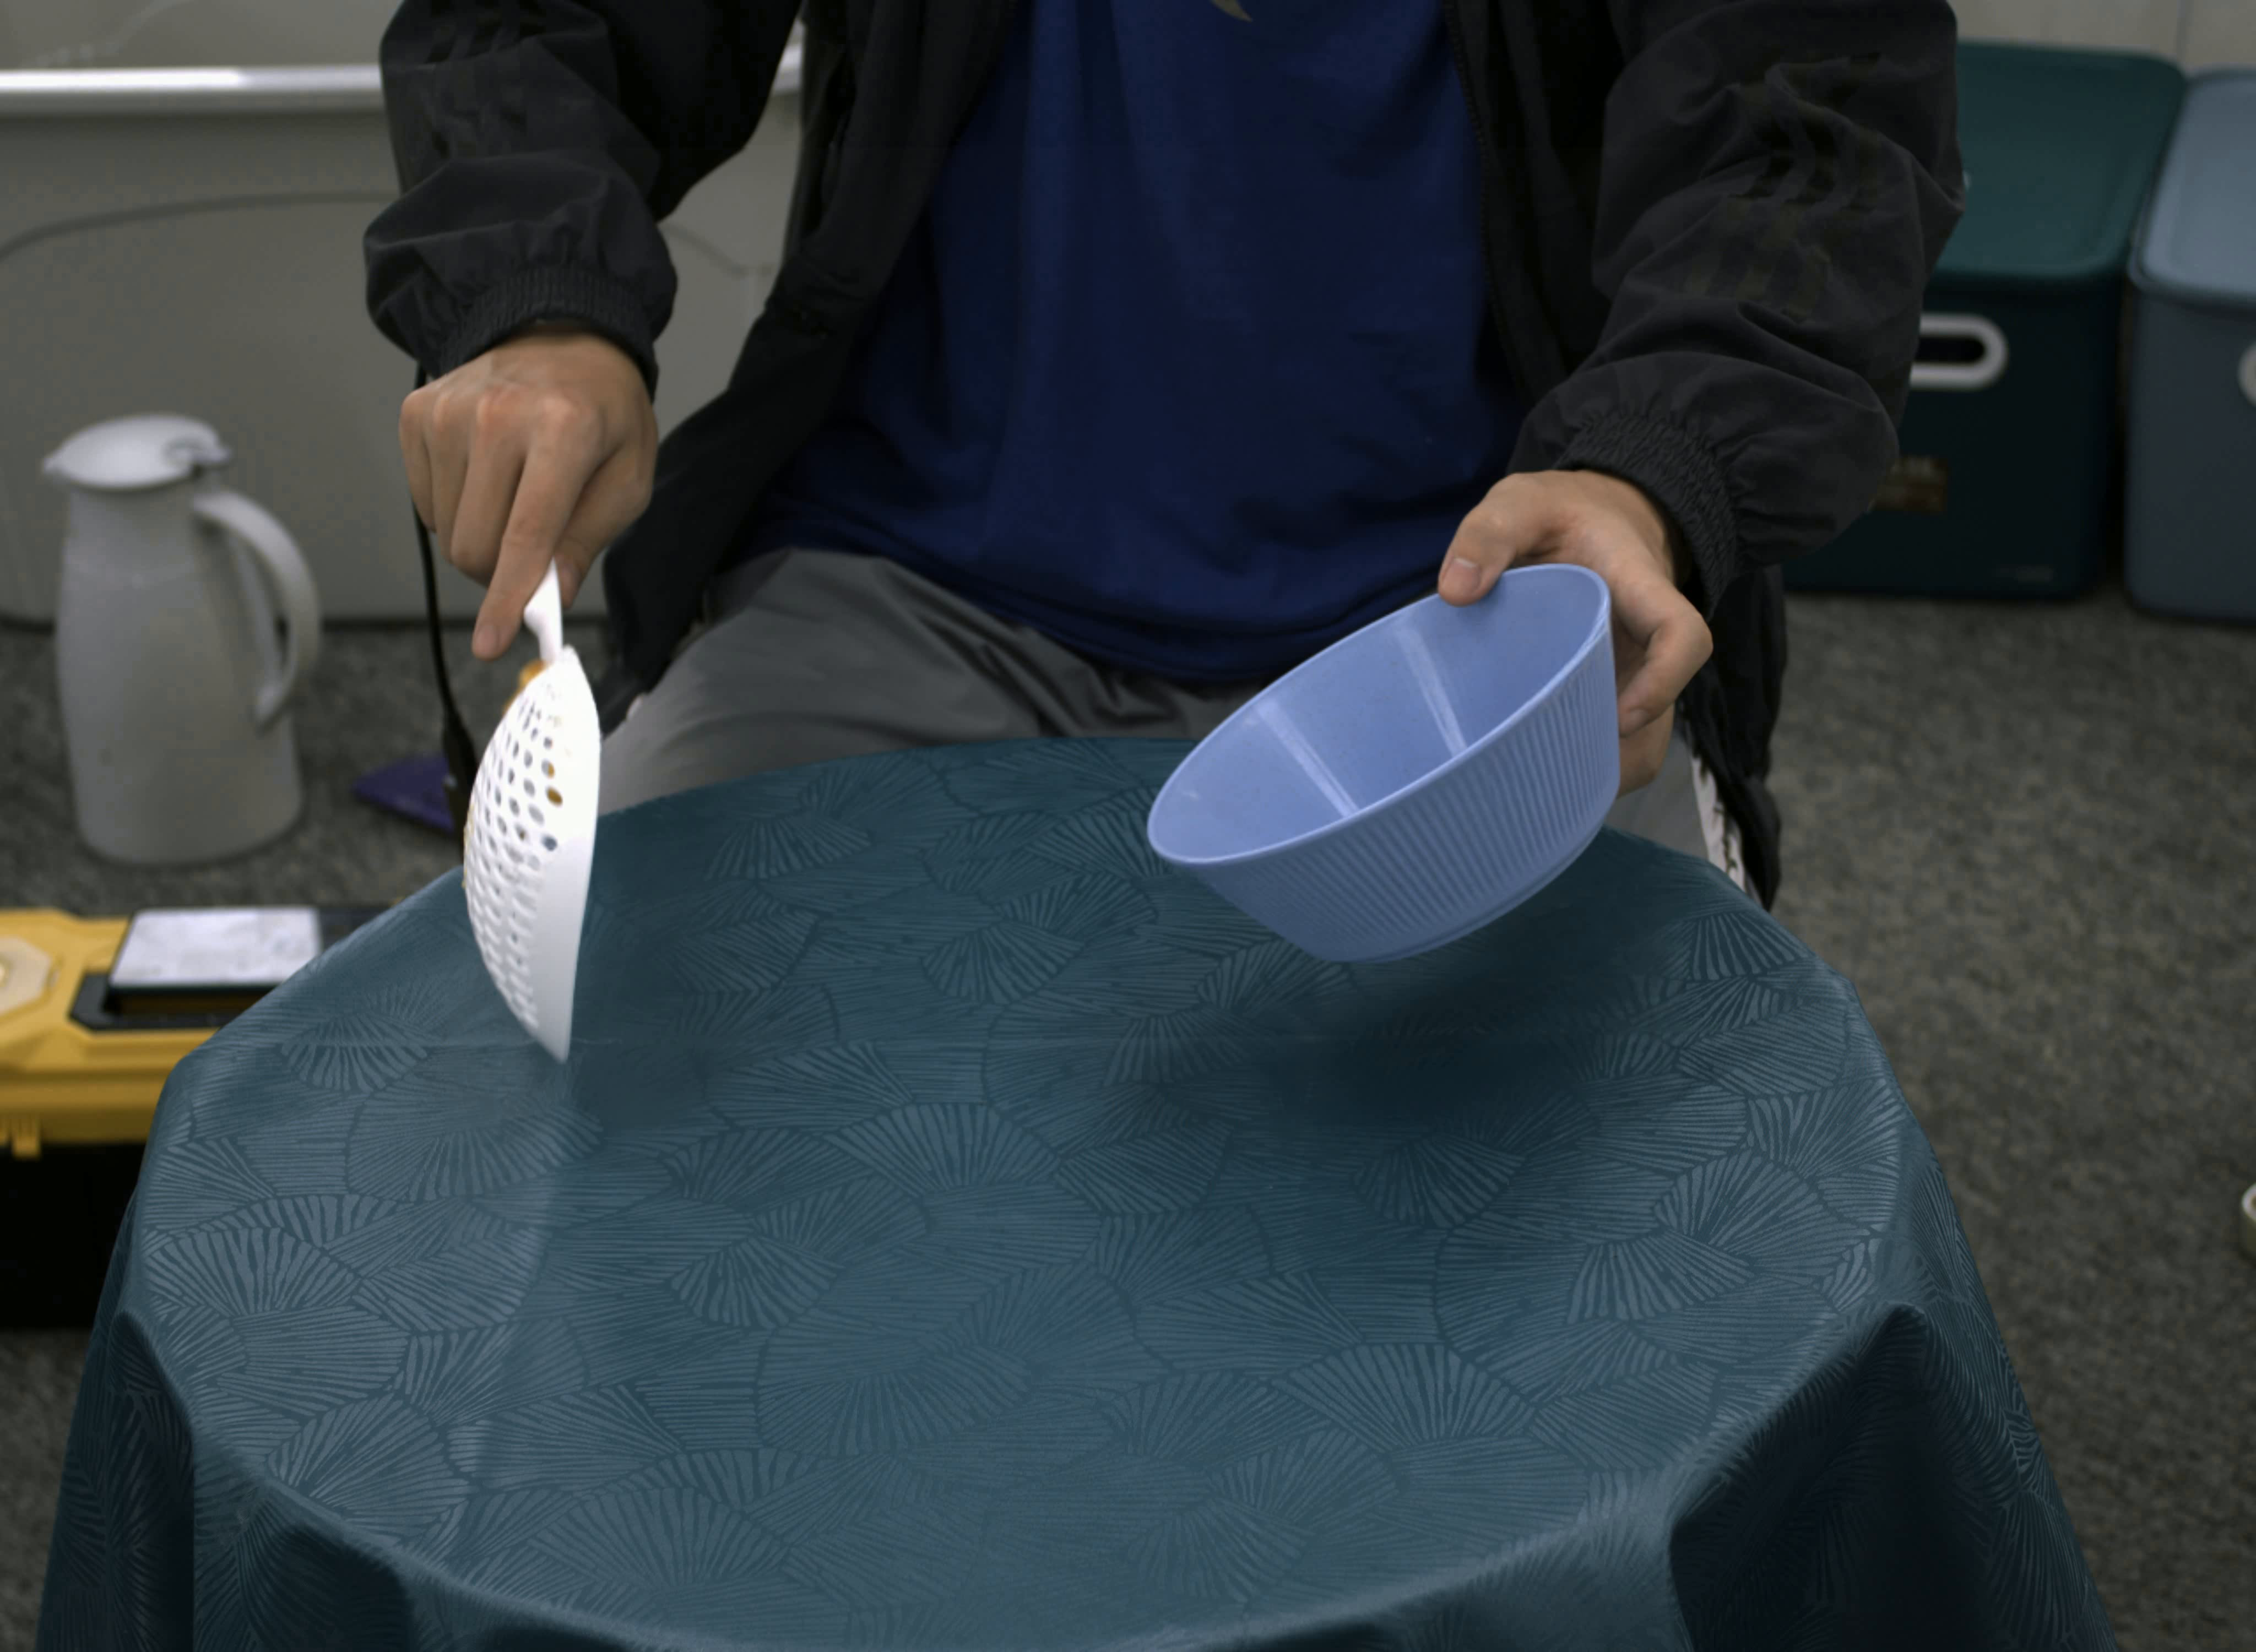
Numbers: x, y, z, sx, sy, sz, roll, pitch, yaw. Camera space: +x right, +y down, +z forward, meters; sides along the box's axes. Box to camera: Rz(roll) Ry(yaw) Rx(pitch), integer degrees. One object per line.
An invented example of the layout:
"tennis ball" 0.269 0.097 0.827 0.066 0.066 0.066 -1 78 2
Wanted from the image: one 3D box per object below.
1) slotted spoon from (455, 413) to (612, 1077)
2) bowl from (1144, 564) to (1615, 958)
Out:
"slotted spoon" -0.216 -0.047 2.014 0.050 0.135 0.353 2 33 -8
"bowl" 0.097 -0.014 1.891 0.175 0.070 0.178 -28 17 9
